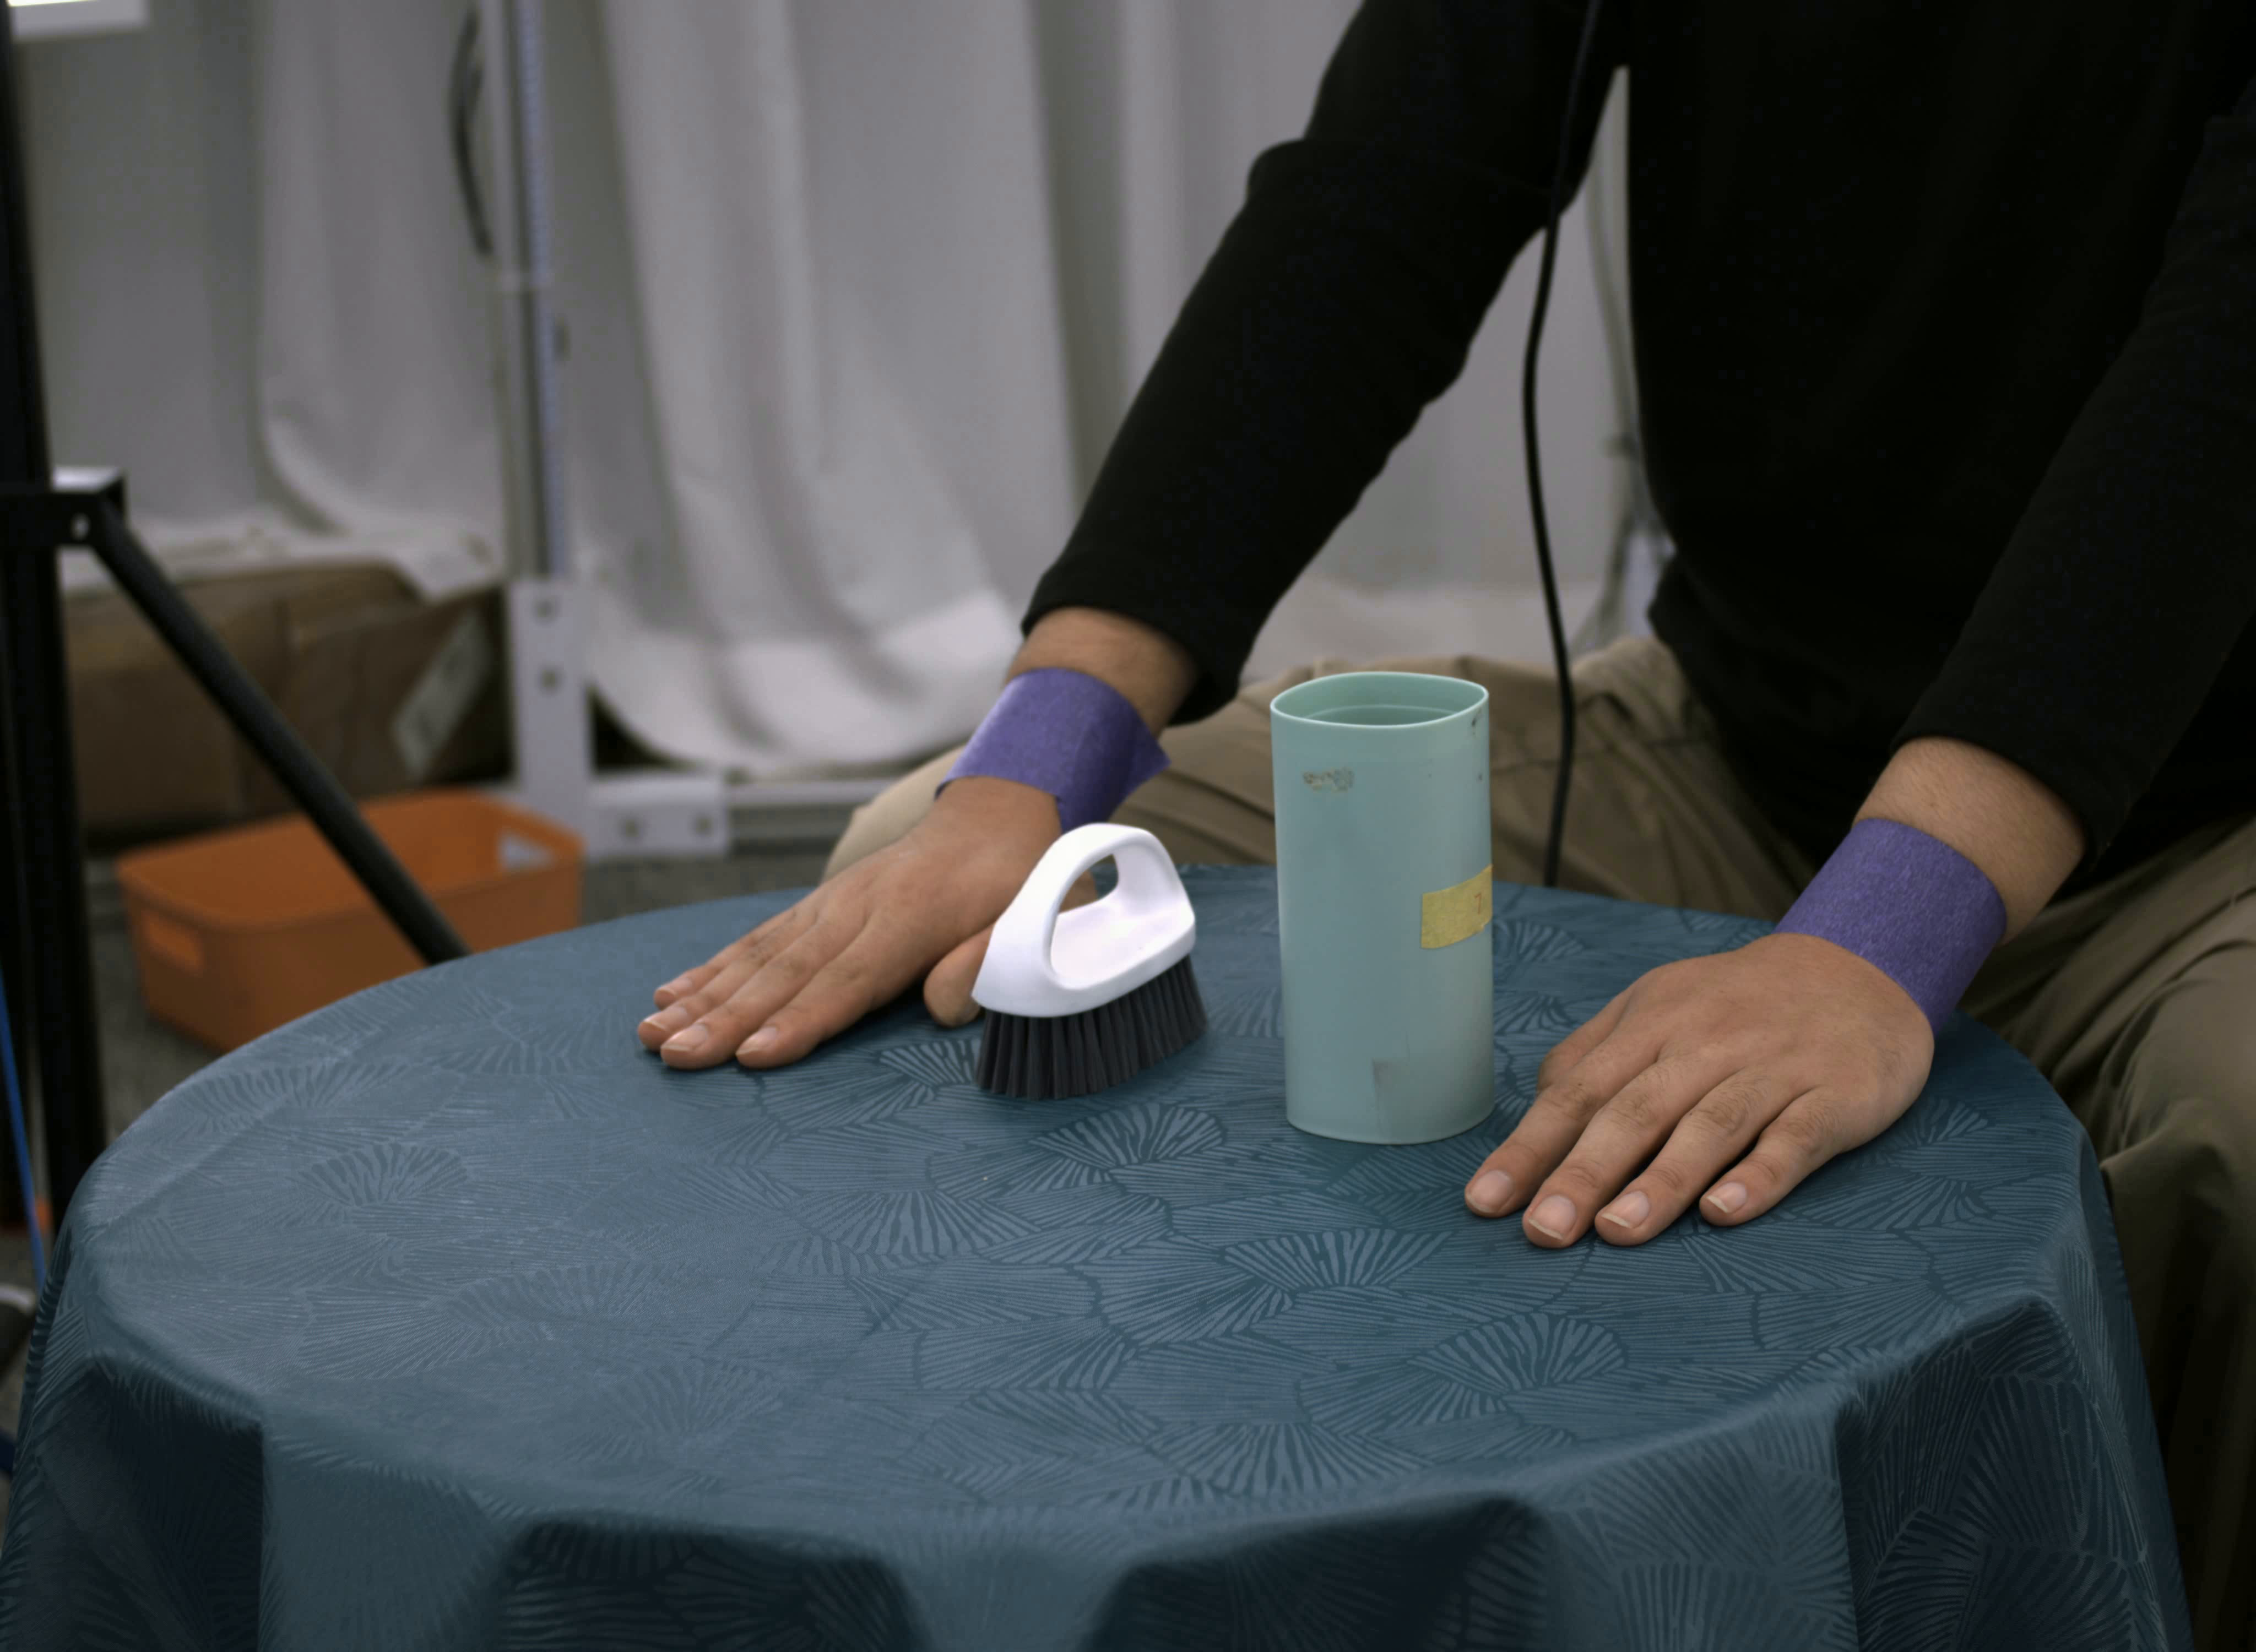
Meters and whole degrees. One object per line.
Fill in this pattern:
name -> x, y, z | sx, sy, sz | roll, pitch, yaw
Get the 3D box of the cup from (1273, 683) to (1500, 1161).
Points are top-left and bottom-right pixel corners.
cup -> 0.078, 0.028, 1.602 | 0.066, 0.132, 0.067 | -3, 15, -1

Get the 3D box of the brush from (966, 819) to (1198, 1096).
brush -> -0.015, 0.036, 1.680 | 0.051, 0.072, 0.097 | 8, 20, 31
